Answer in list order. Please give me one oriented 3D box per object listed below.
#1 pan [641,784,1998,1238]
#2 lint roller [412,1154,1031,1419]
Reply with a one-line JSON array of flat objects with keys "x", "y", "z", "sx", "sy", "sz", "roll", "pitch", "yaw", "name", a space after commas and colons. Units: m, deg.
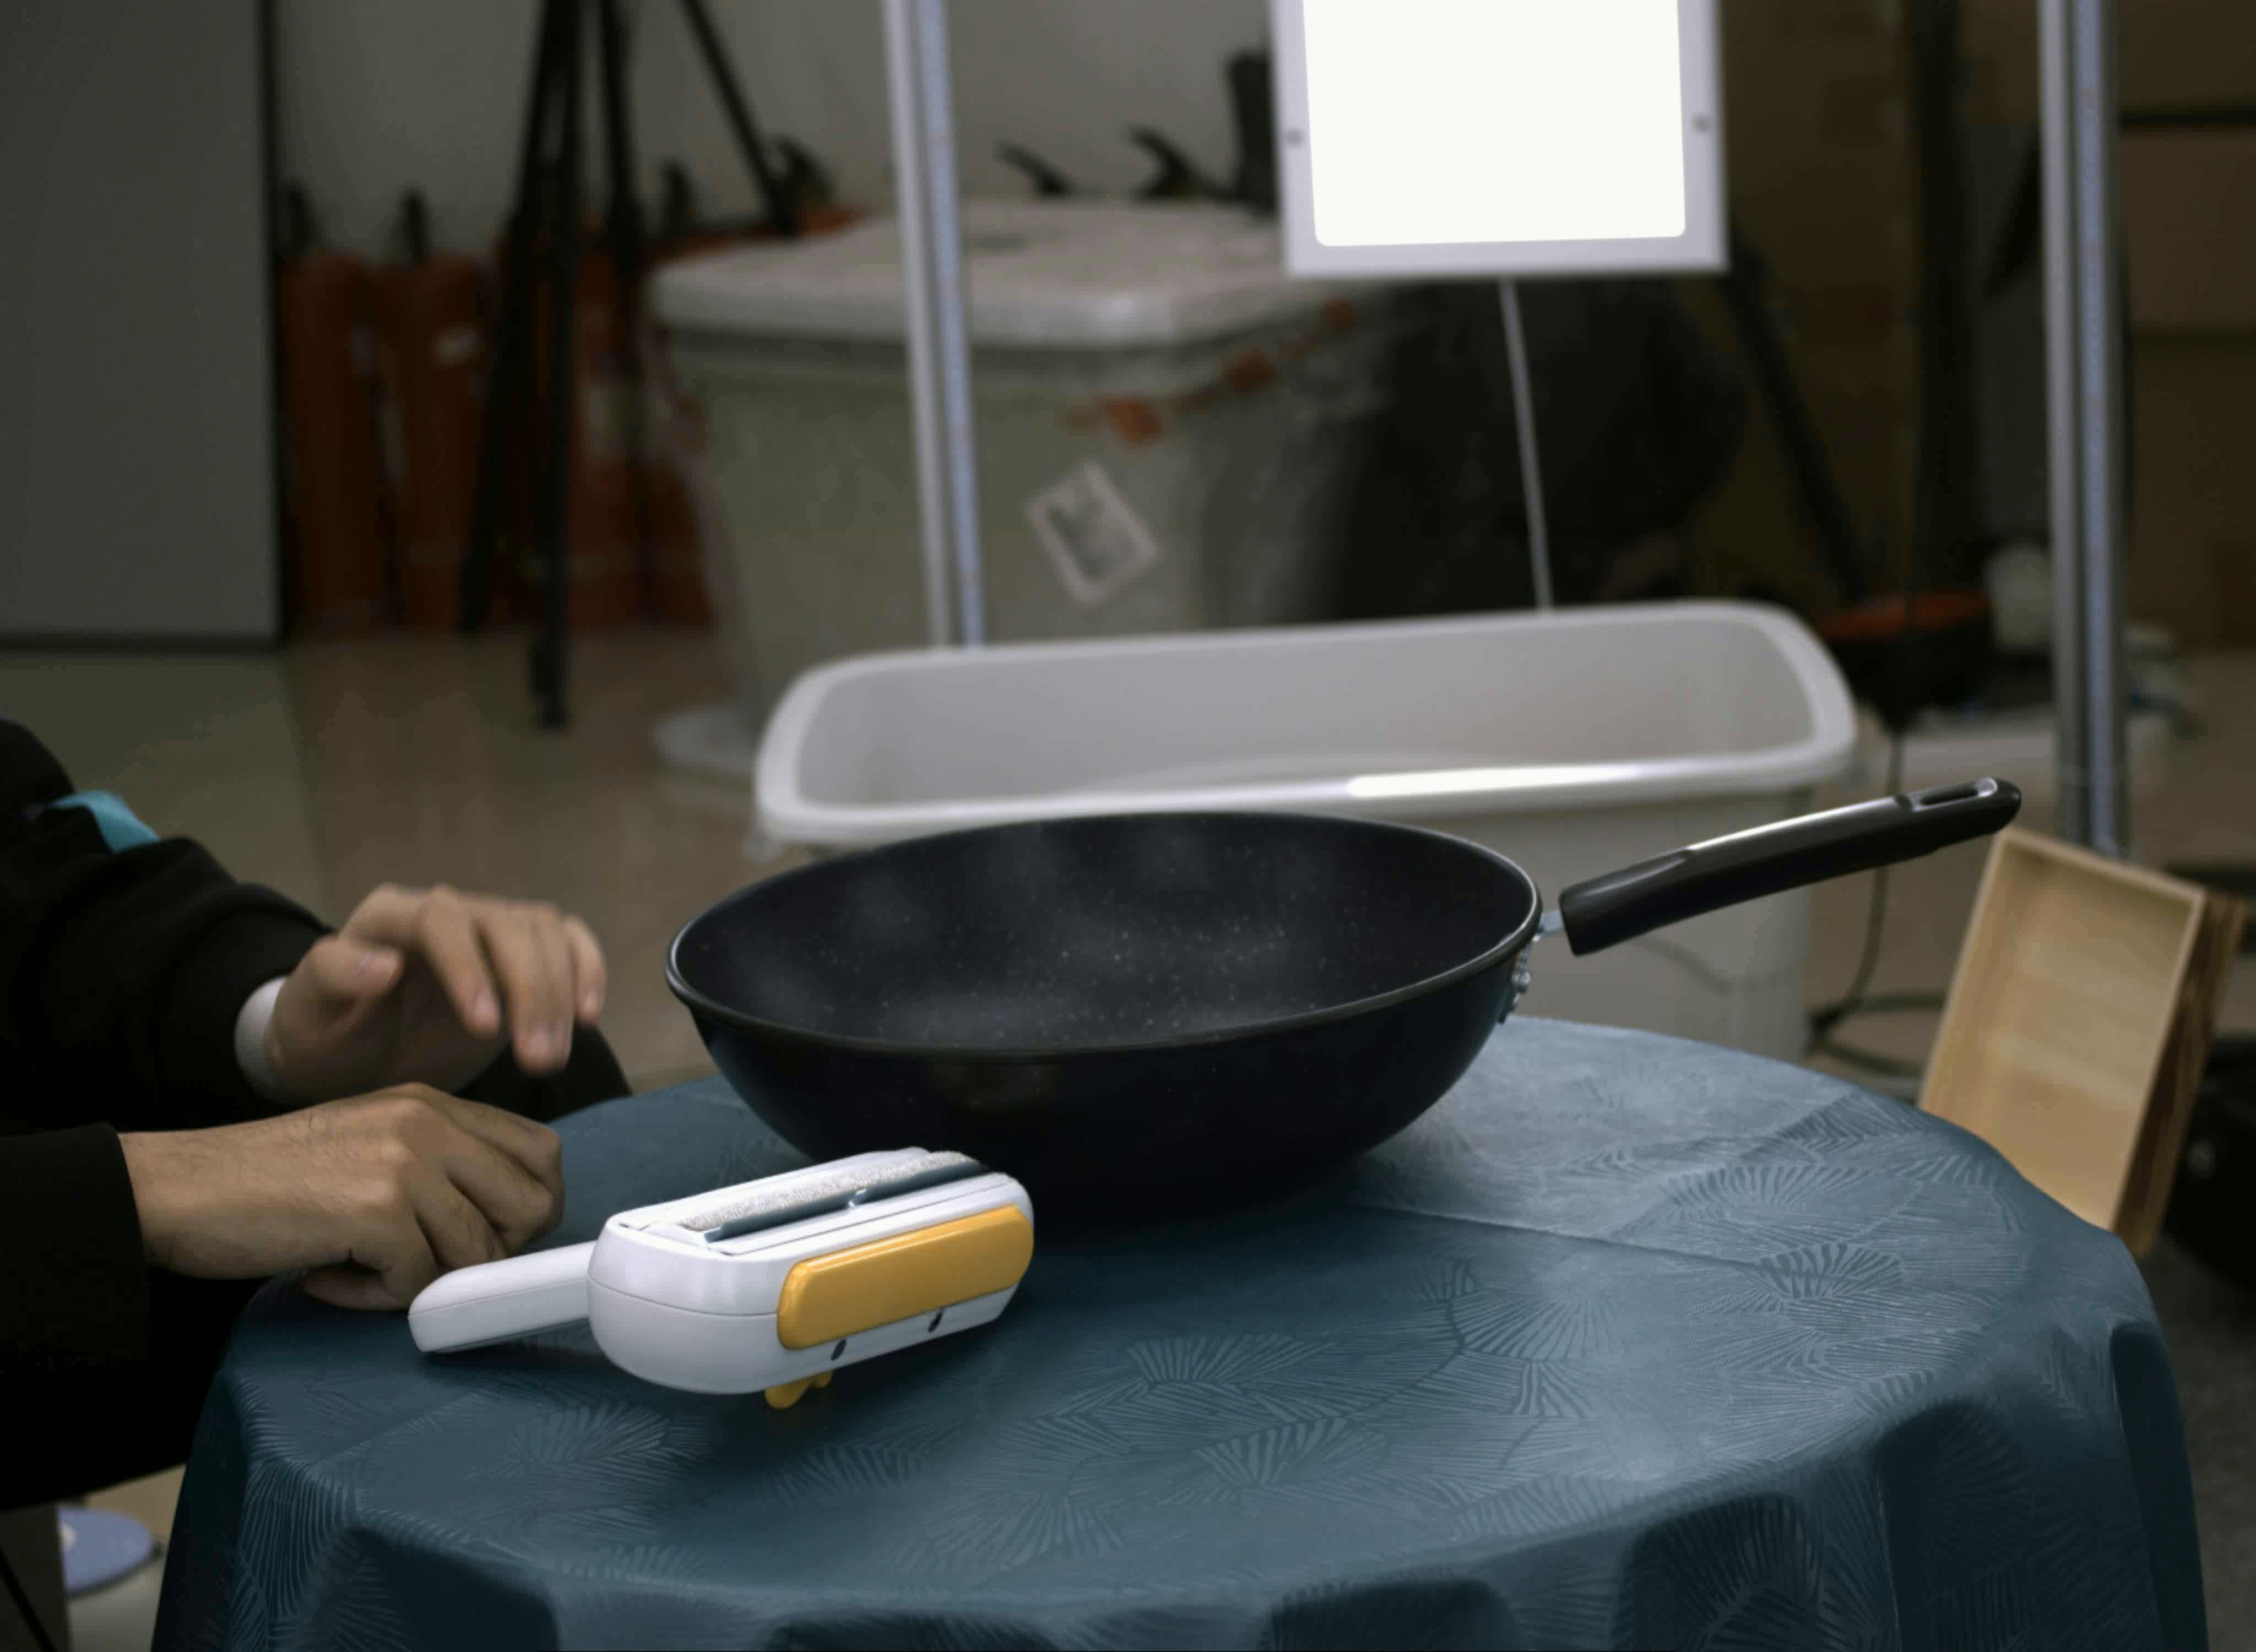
[{"x": 0.069, "y": 0.058, "z": 1.922, "sx": 0.477, "sy": 0.112, "sz": 0.309, "roll": -5, "pitch": 16, "yaw": 4, "name": "pan"}, {"x": -0.149, "y": 0.143, "z": 1.742, "sx": 0.196, "sy": 0.074, "sz": 0.188, "roll": 2, "pitch": 10, "yaw": 34, "name": "lint roller"}]
